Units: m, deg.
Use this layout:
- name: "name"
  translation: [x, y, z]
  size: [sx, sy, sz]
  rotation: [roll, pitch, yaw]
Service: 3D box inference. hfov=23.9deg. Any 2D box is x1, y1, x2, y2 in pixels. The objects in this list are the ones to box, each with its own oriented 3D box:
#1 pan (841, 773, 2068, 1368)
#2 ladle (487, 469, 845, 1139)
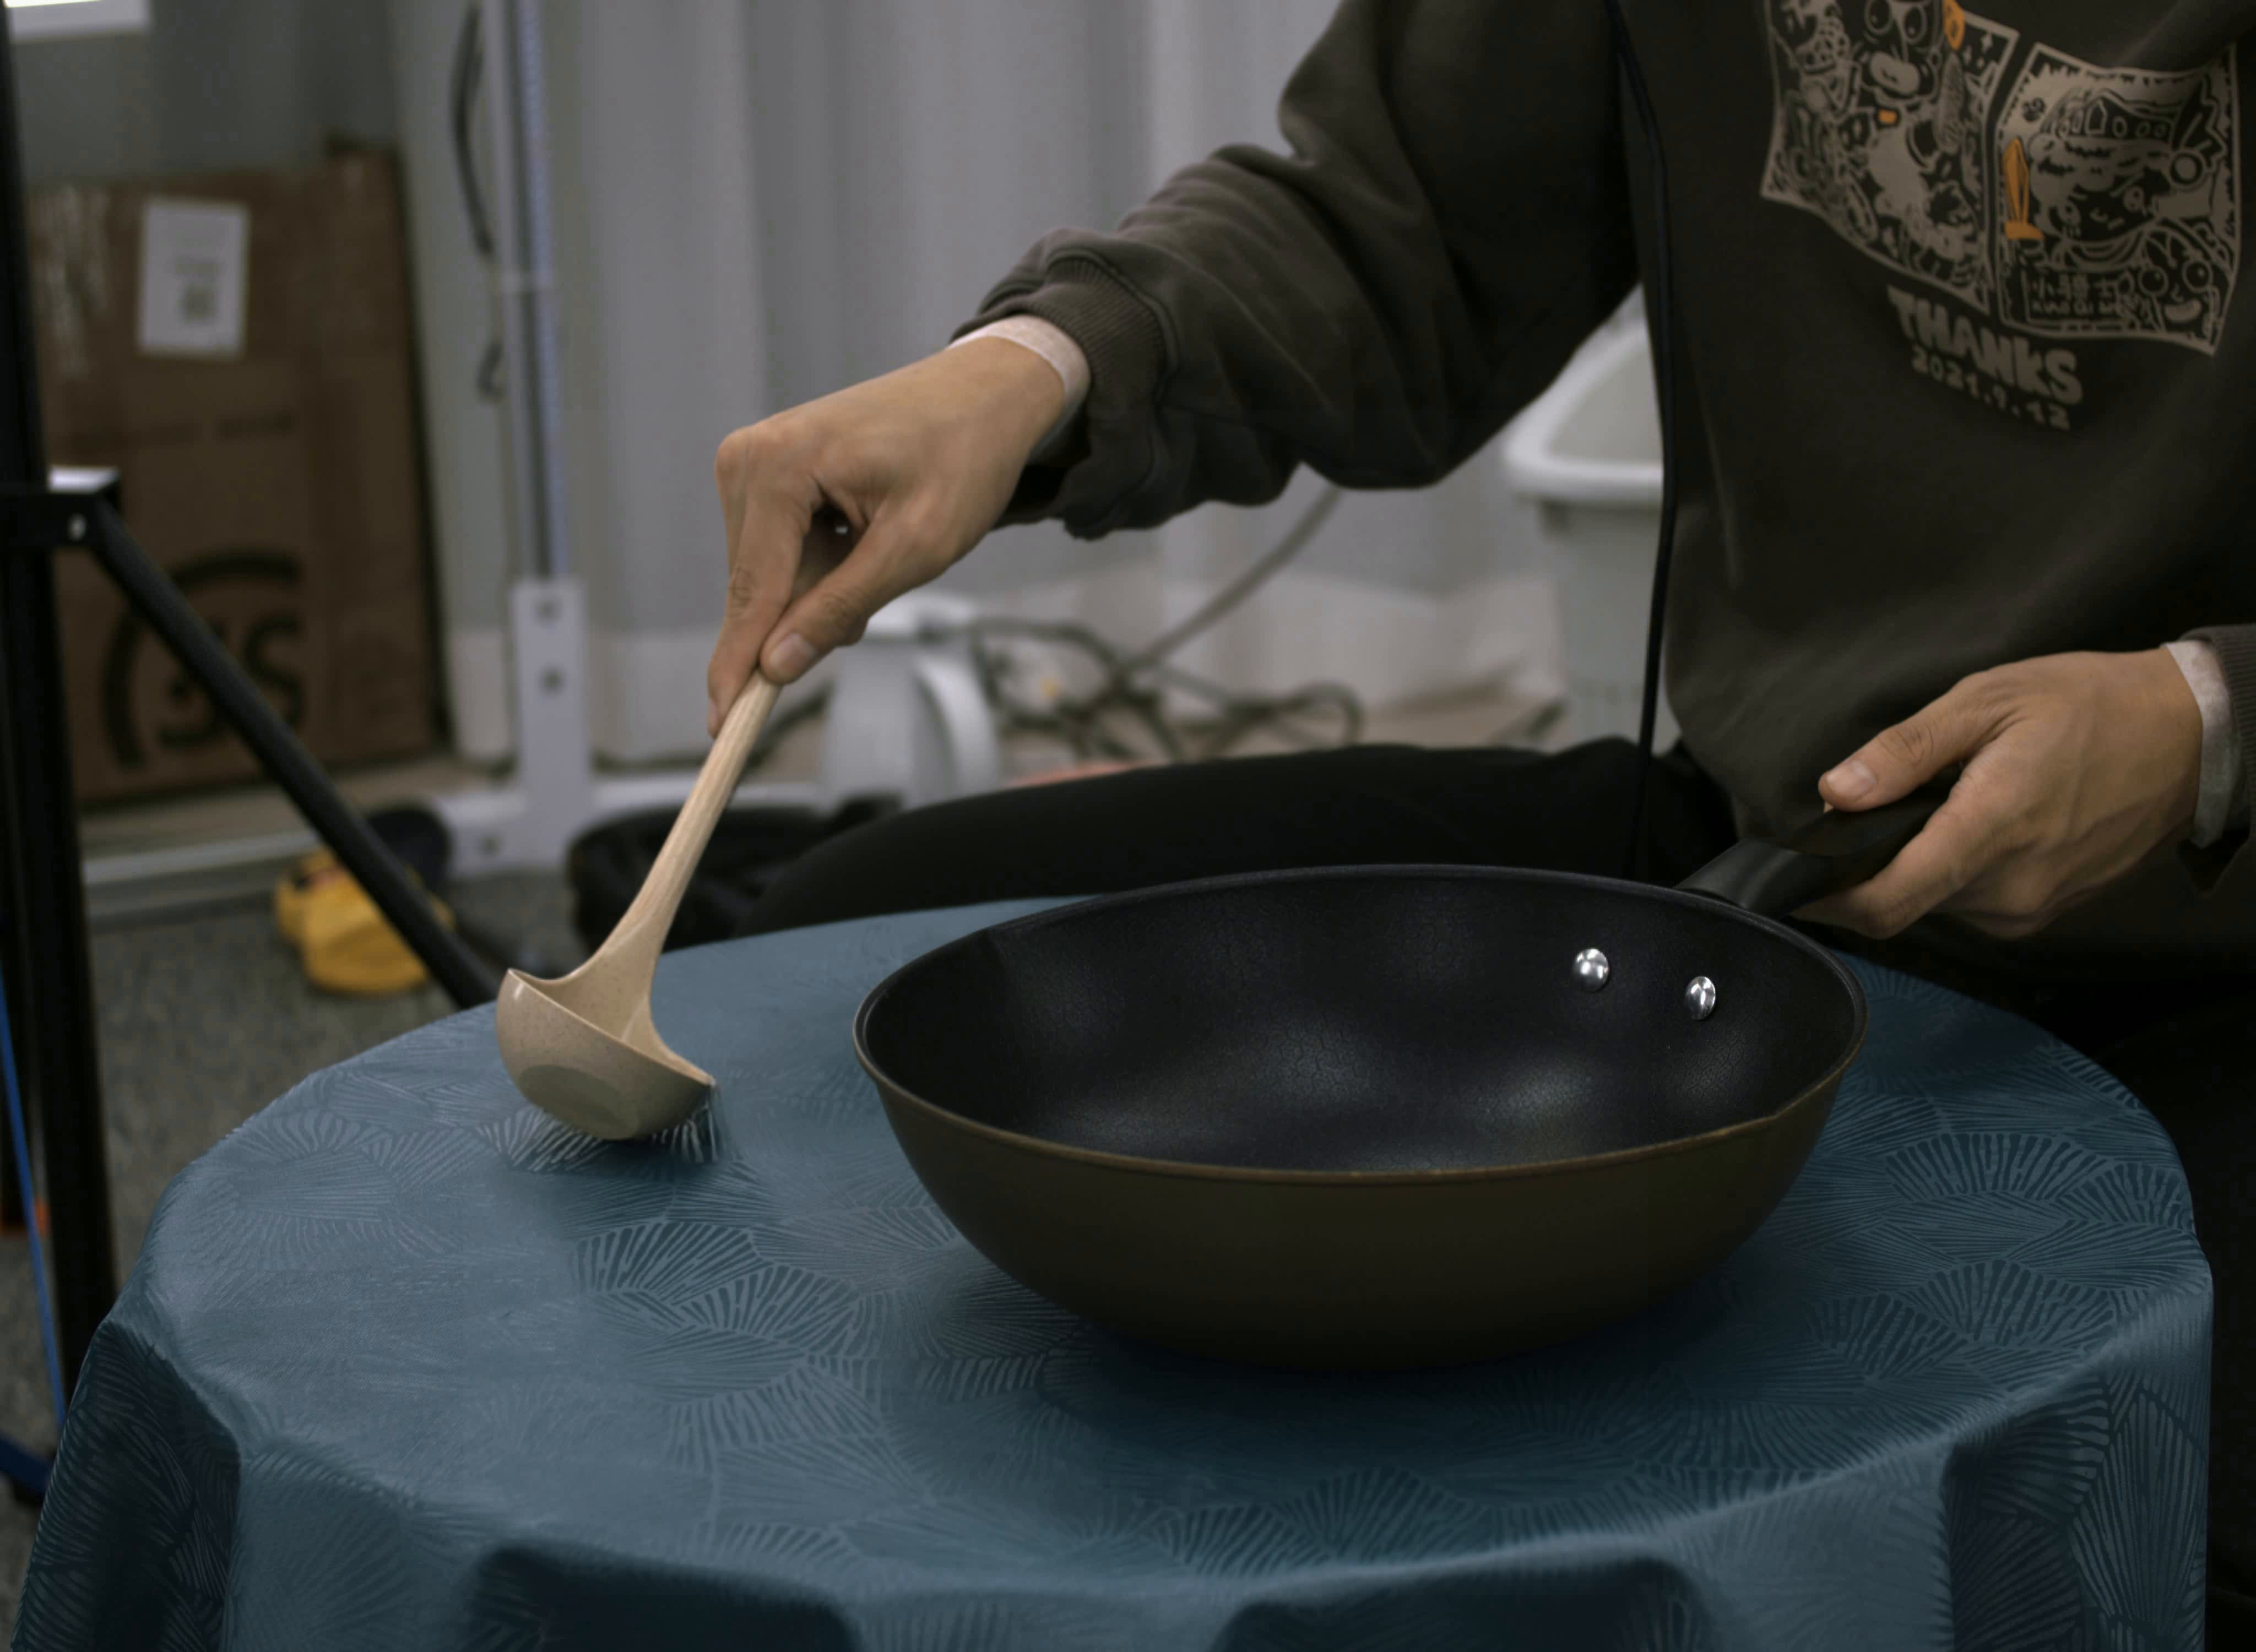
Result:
- name: "pan"
  translation: [0.125, 0.066, 1.534]
  size: [0.295, 0.087, 0.453]
  rotation: [12, 21, 44]
- name: "ladle"
  translation: [-0.128, -0.021, 1.668]
  size: [0.071, 0.255, 0.073]
  rotation: [25, -26, -8]
